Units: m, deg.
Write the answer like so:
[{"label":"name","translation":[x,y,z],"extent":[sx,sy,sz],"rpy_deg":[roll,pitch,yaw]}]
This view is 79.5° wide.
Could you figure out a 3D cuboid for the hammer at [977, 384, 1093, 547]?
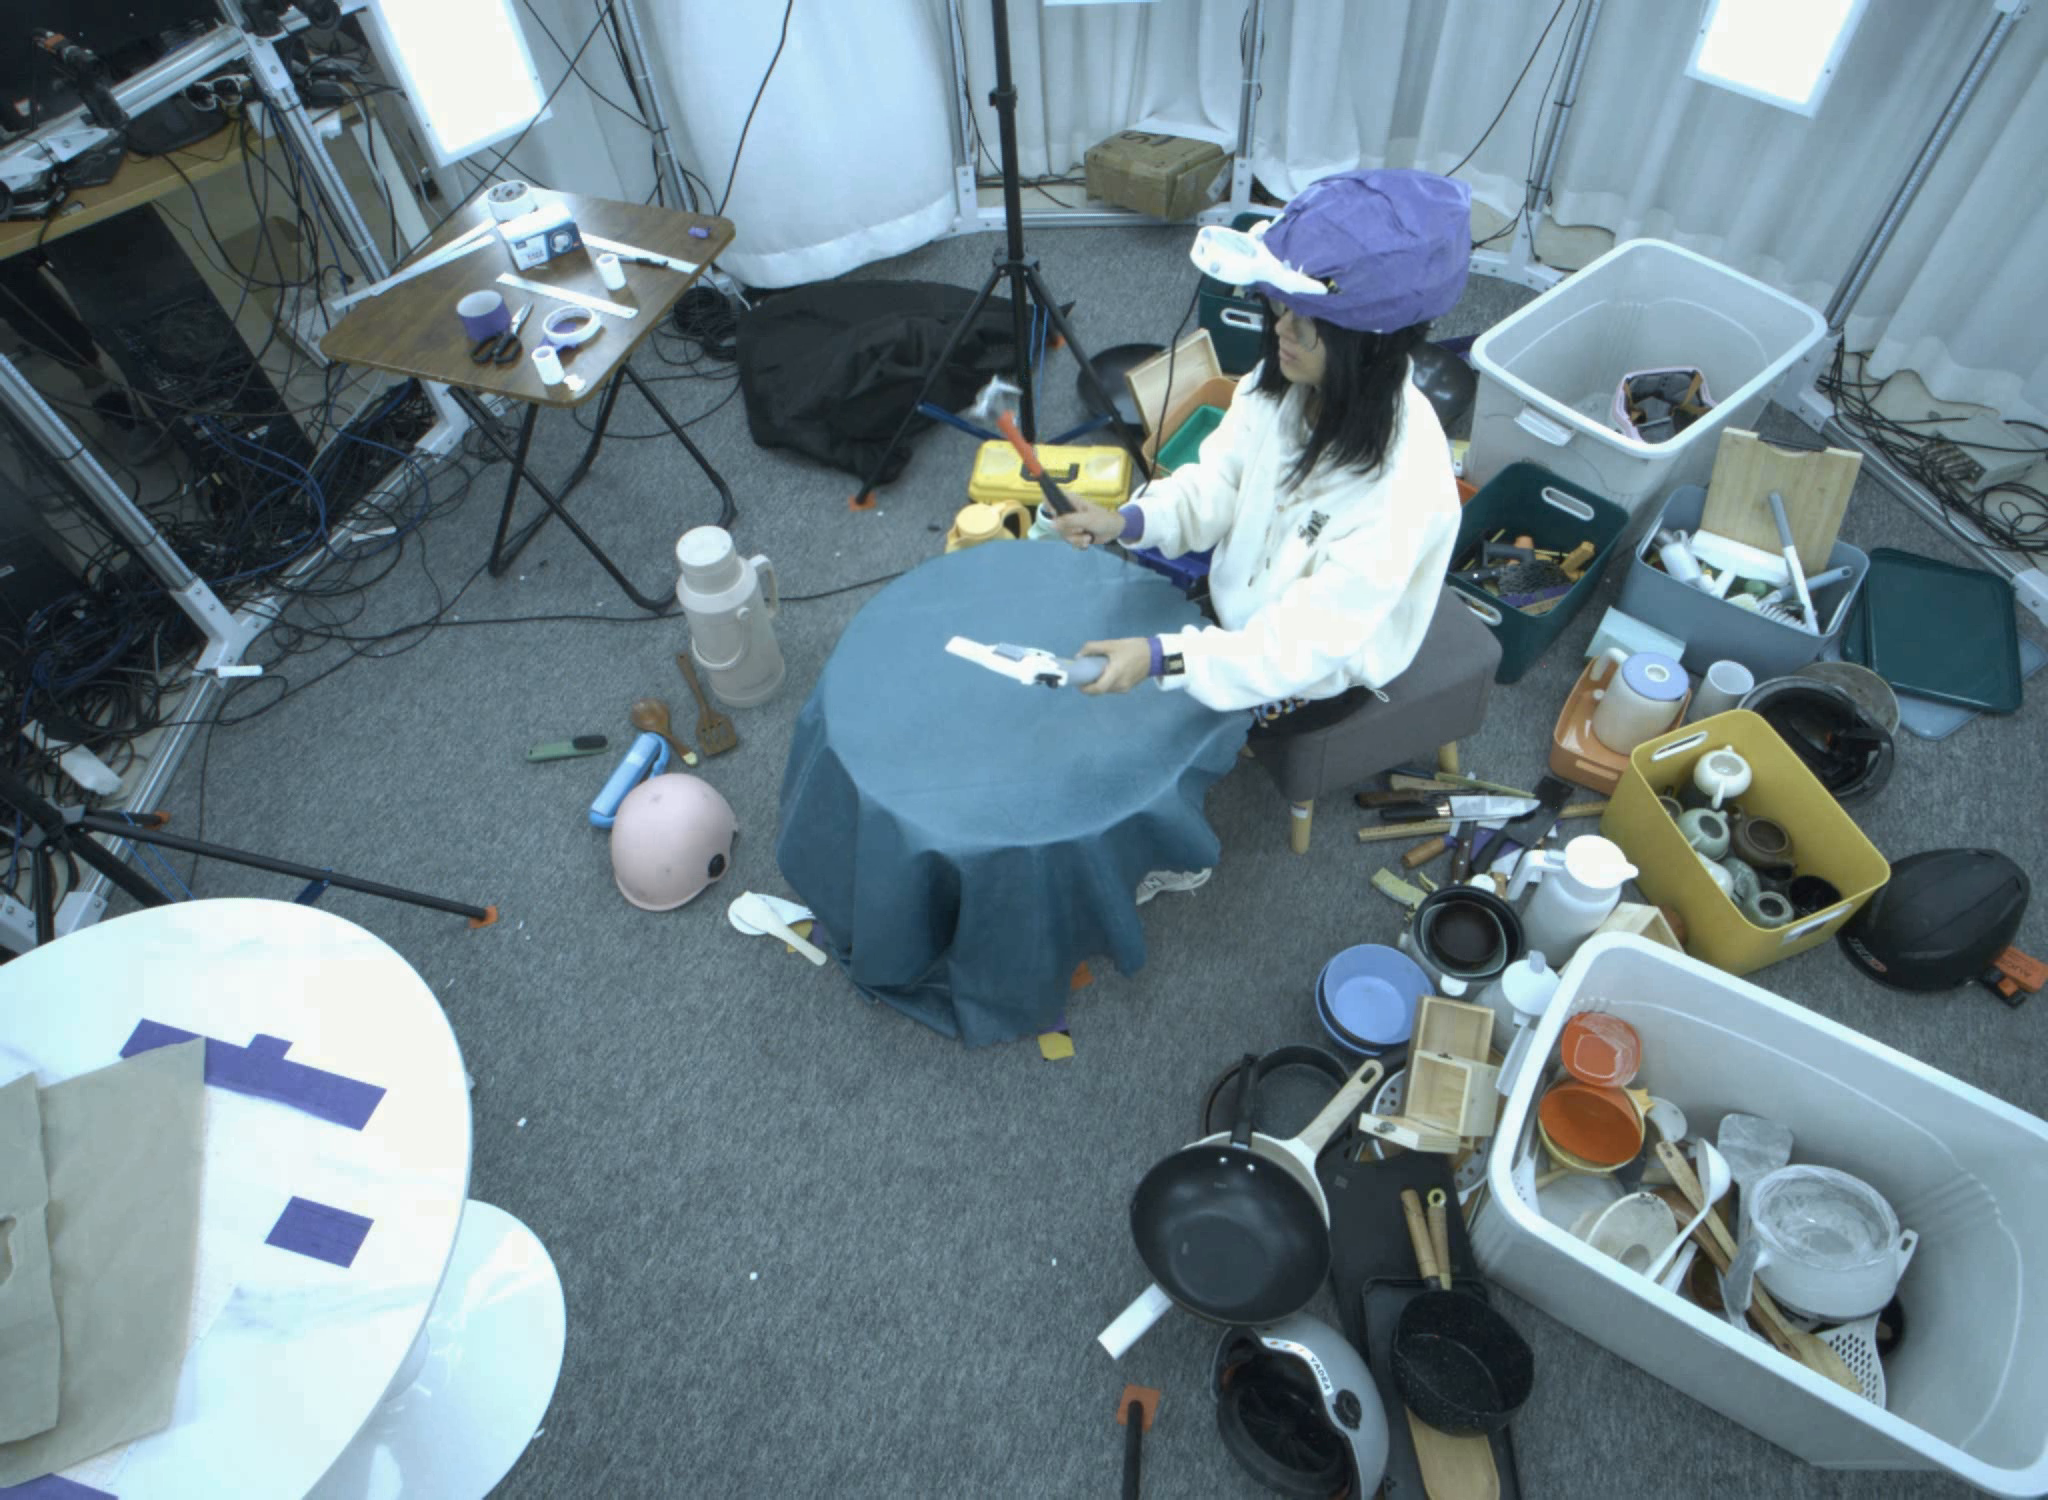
[{"label":"hammer","translation":[0.021,-0.404,1.726],"extent":[0.026,0.282,0.110],"rpy_deg":[-17,36,29]}]

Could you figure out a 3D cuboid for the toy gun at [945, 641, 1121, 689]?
[{"label":"toy gun","translation":[0.014,-0.122,1.671],"extent":[0.206,0.039,0.143],"rpy_deg":[21,30,19]}]
